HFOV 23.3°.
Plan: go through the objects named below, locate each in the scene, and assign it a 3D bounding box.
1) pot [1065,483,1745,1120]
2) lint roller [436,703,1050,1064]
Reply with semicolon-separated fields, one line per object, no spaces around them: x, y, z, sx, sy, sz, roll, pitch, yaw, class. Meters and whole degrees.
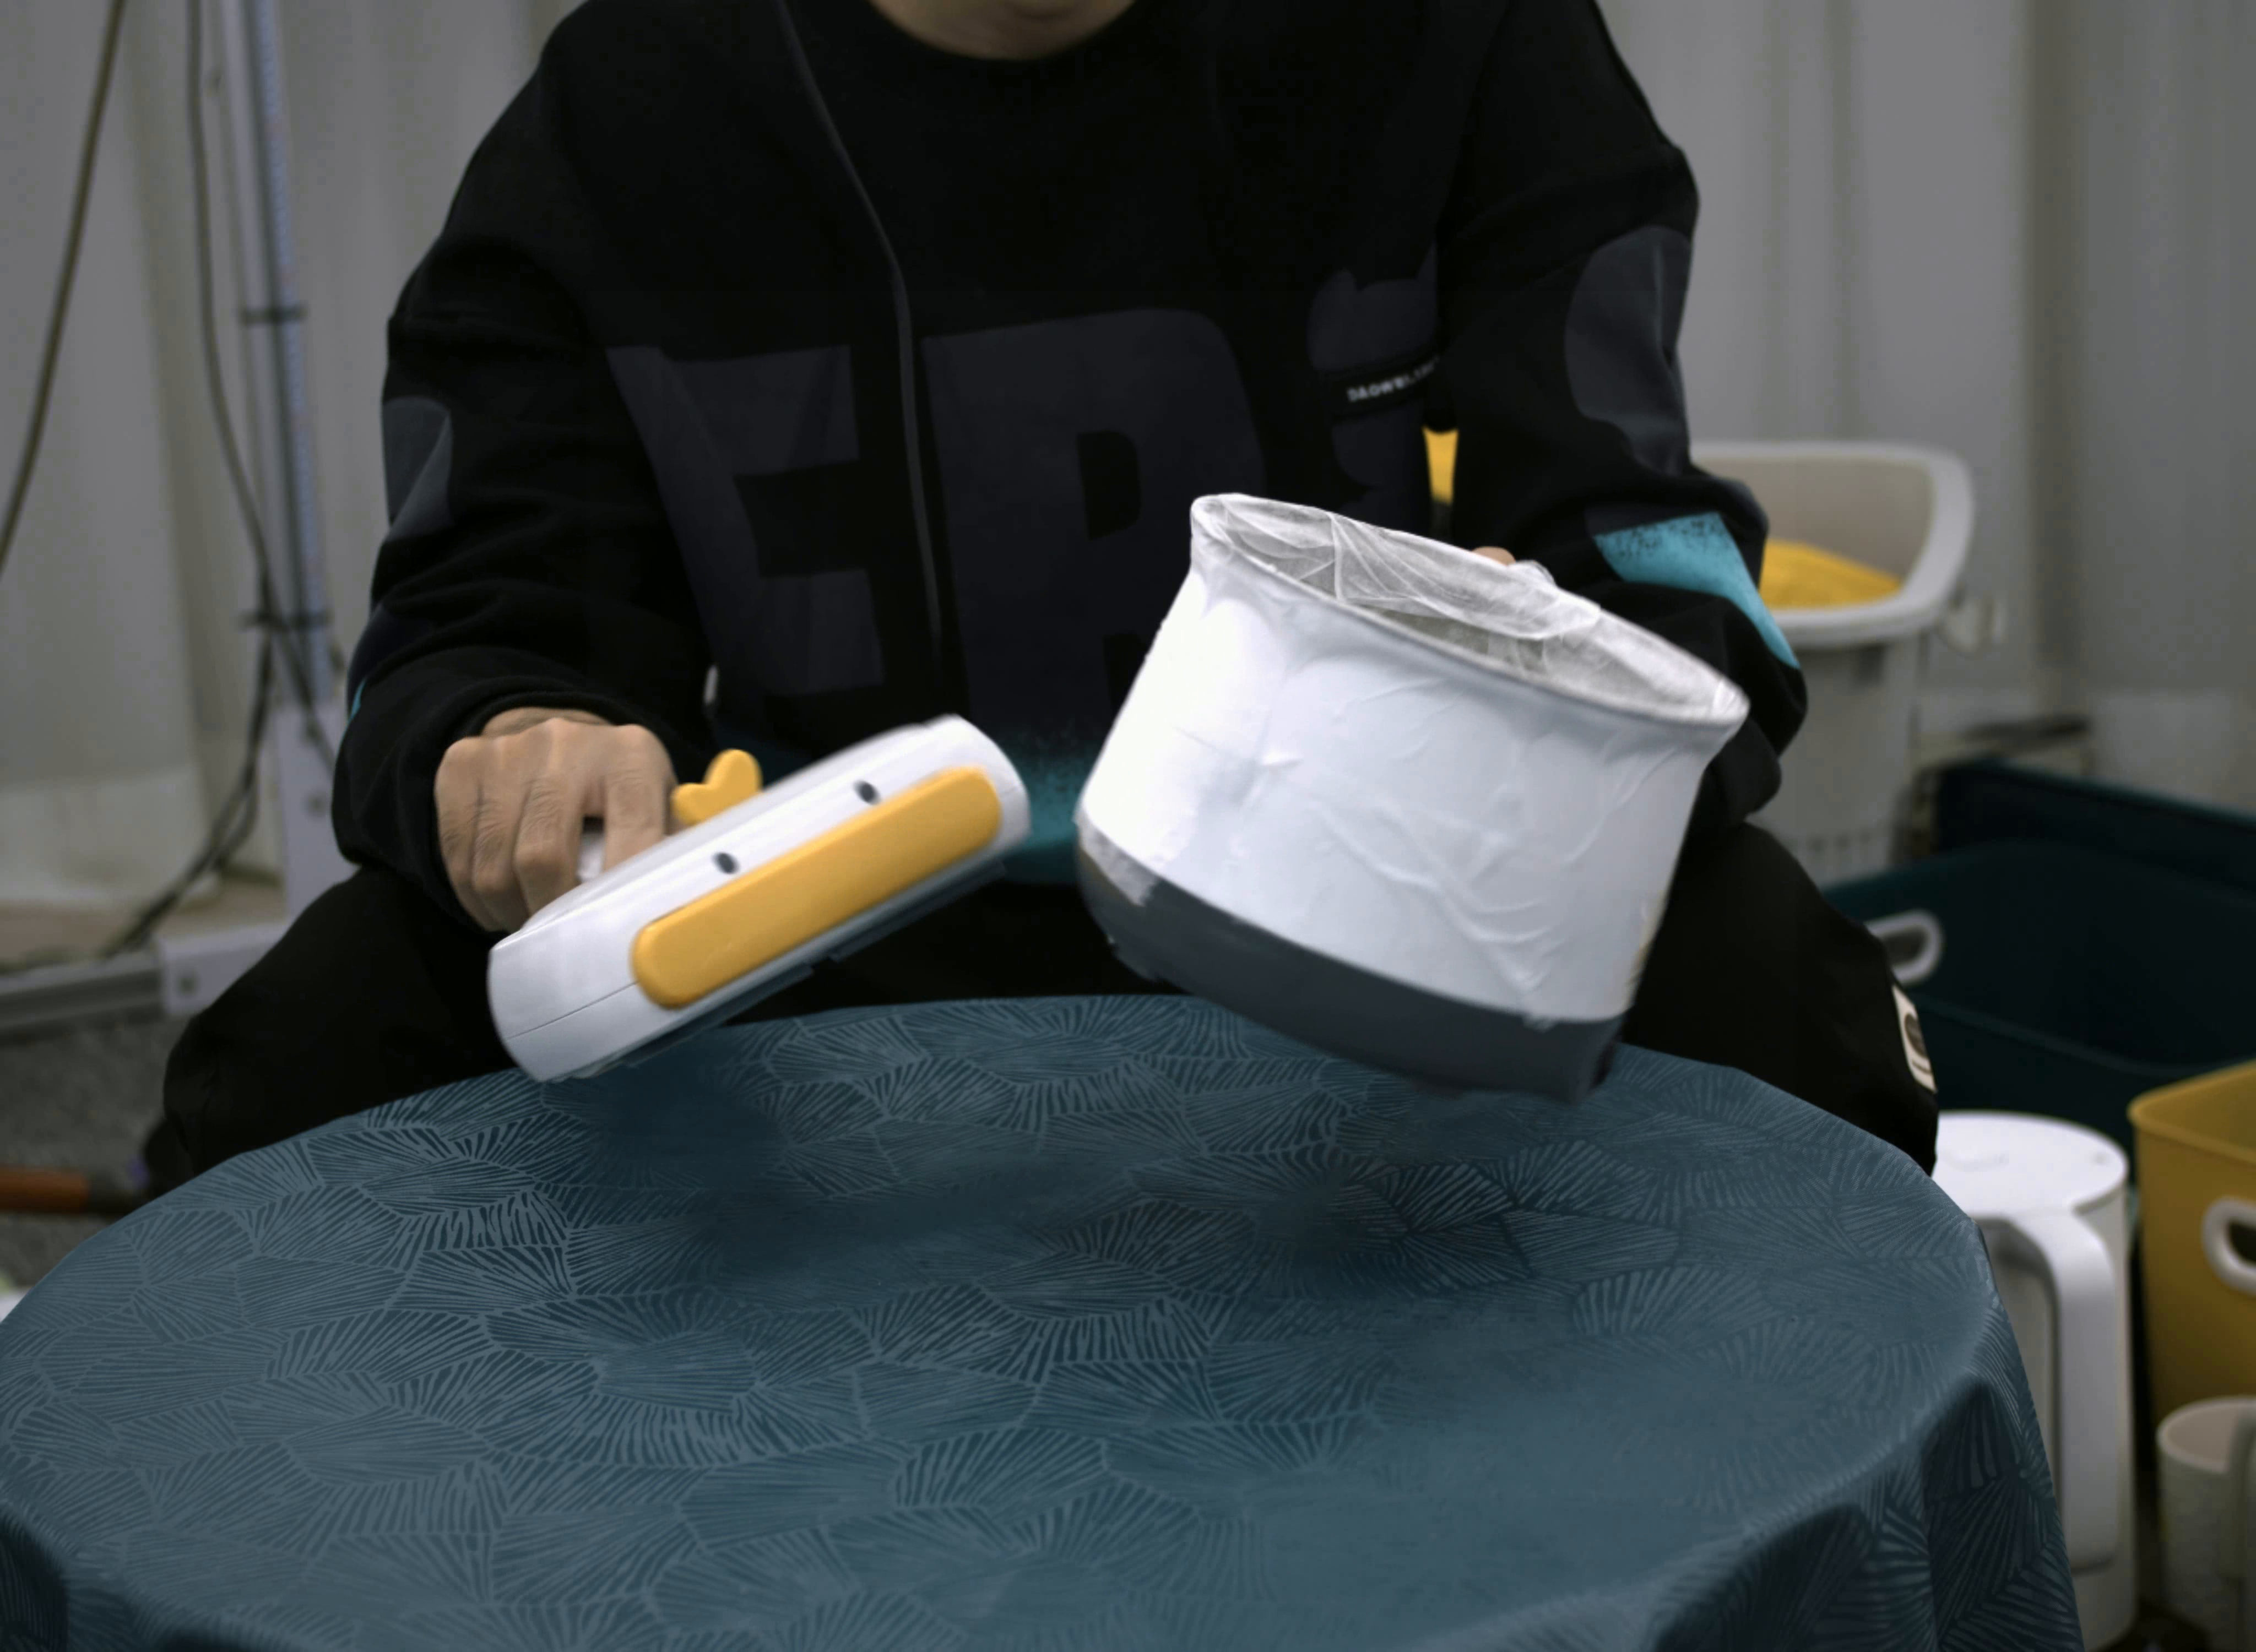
0.085;-0.012;1.669;0.179;0.136;0.234;25;14;10;pot
-0.147;0.016;1.736;0.192;0.074;0.193;-7;21;47;lint roller
